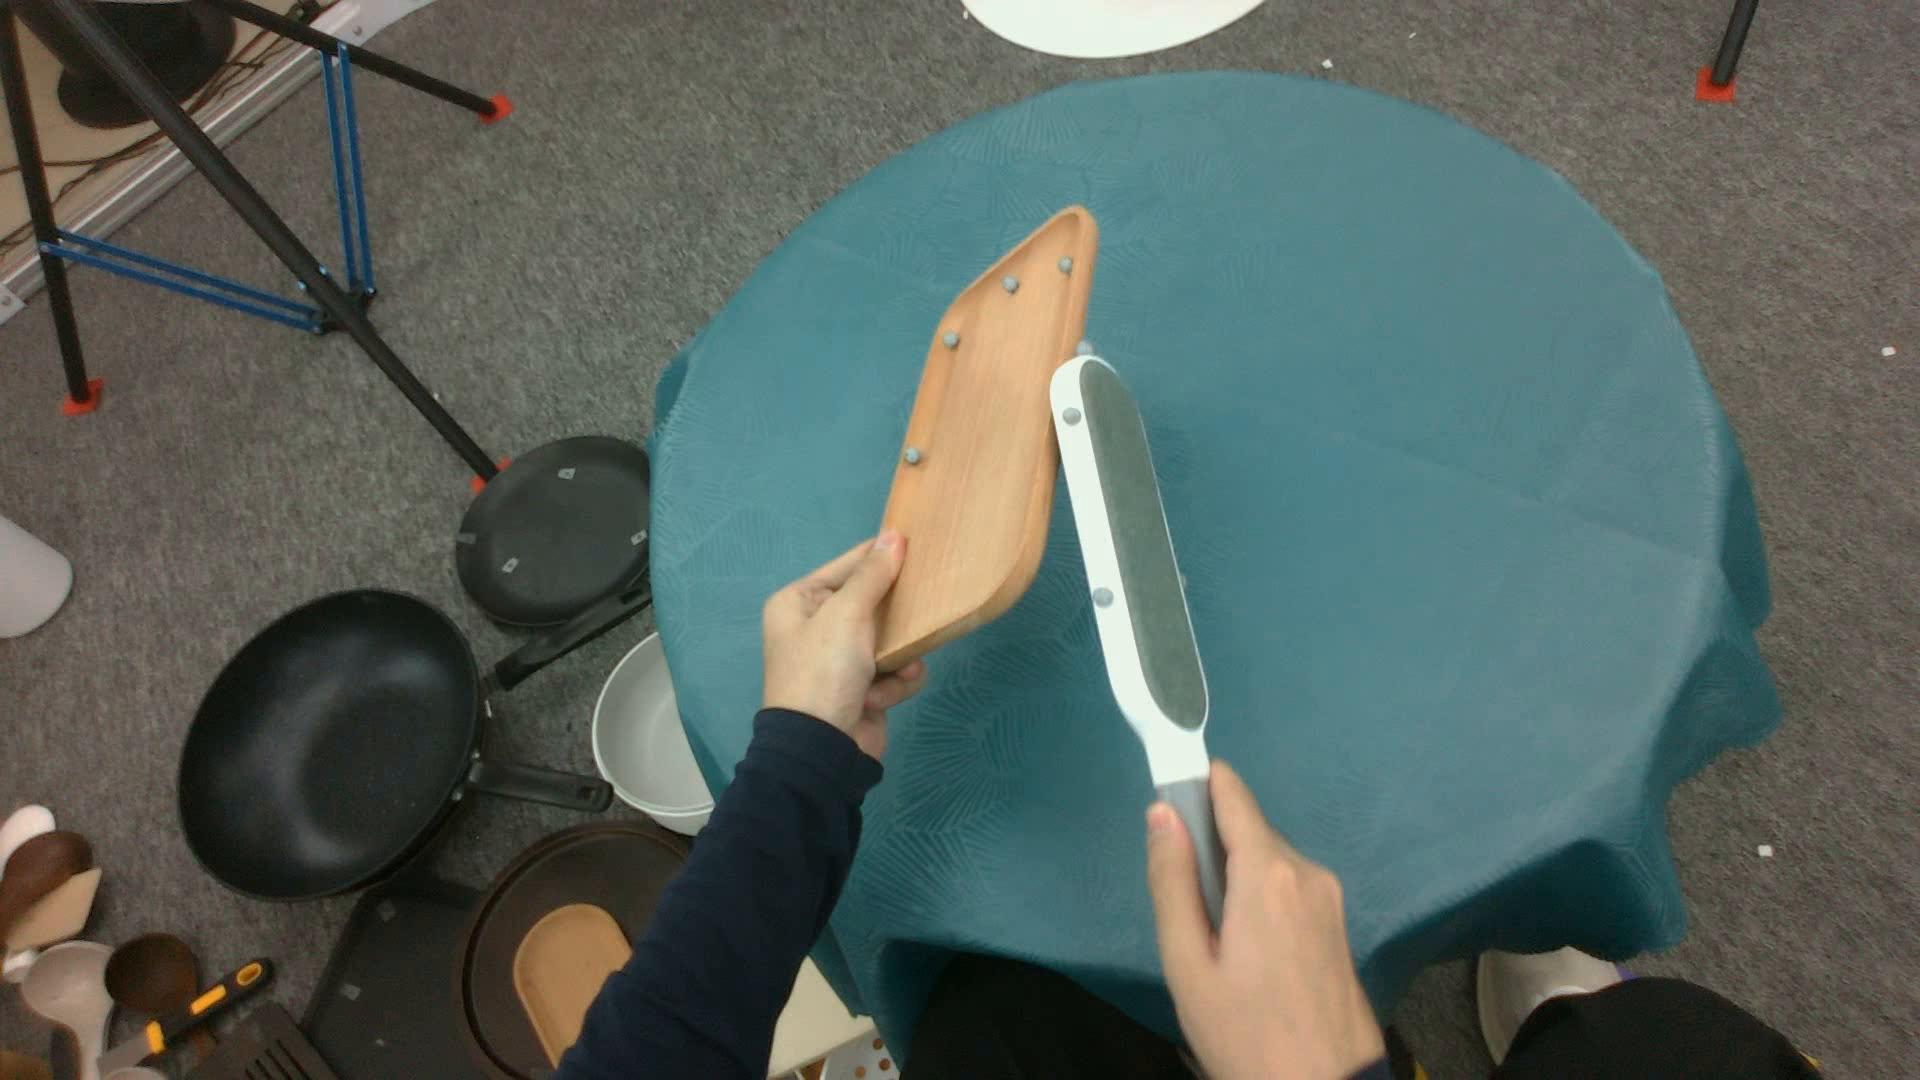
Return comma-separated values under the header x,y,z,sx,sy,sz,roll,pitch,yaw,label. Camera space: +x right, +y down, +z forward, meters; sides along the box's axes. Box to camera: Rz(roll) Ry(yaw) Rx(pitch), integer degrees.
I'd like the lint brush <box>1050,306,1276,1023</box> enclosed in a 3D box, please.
x,y,z,sx,sy,sz,roll,pitch,yaw,label
0.082,0.038,0.568,0.021,0.060,0.310,-23,66,29,lint brush

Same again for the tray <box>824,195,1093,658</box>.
x,y,z,sx,sy,sz,roll,pitch,yaw,label
0.003,-0.059,0.663,0.130,0.023,0.252,-30,37,45,tray
